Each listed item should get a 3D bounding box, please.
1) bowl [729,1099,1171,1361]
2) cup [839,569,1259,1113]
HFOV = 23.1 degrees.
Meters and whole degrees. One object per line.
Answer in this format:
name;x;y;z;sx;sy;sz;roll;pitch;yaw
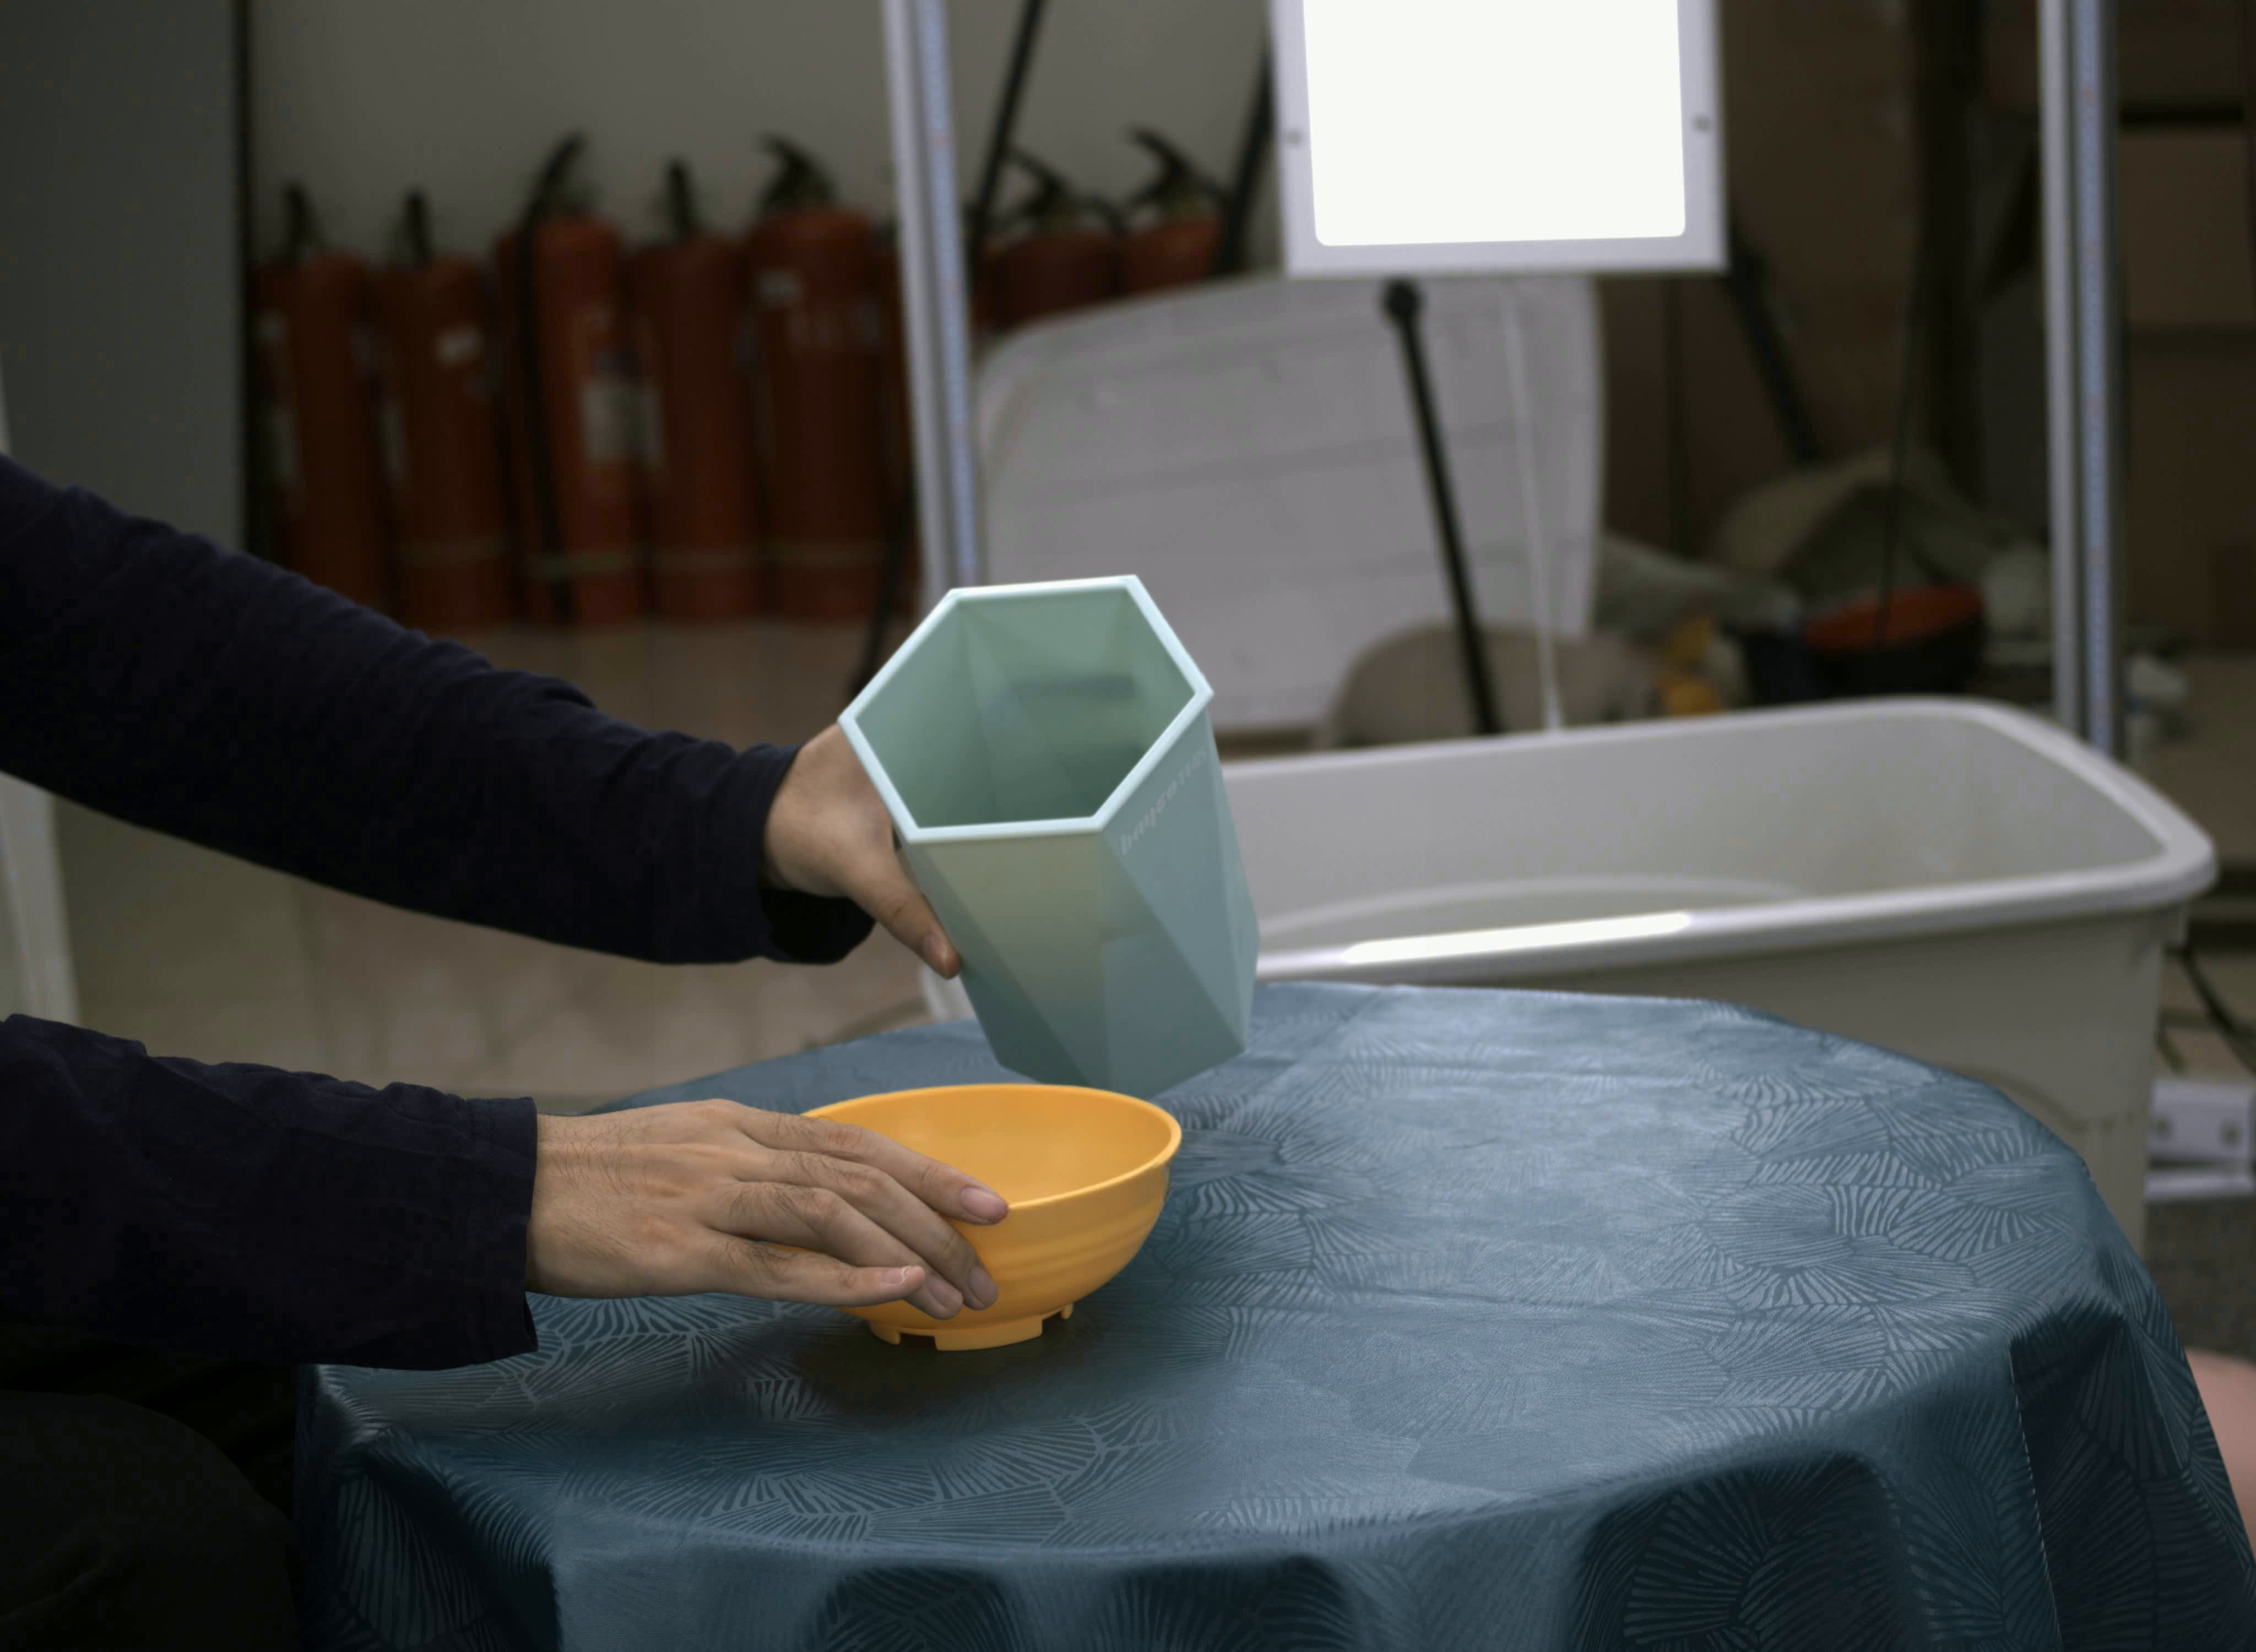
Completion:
bowl;-0.055;0.134;1.776;0.145;0.060;0.145;-7;12;0
cup;-0.016;0.010;1.906;0.117;0.162;0.129;20;57;34
